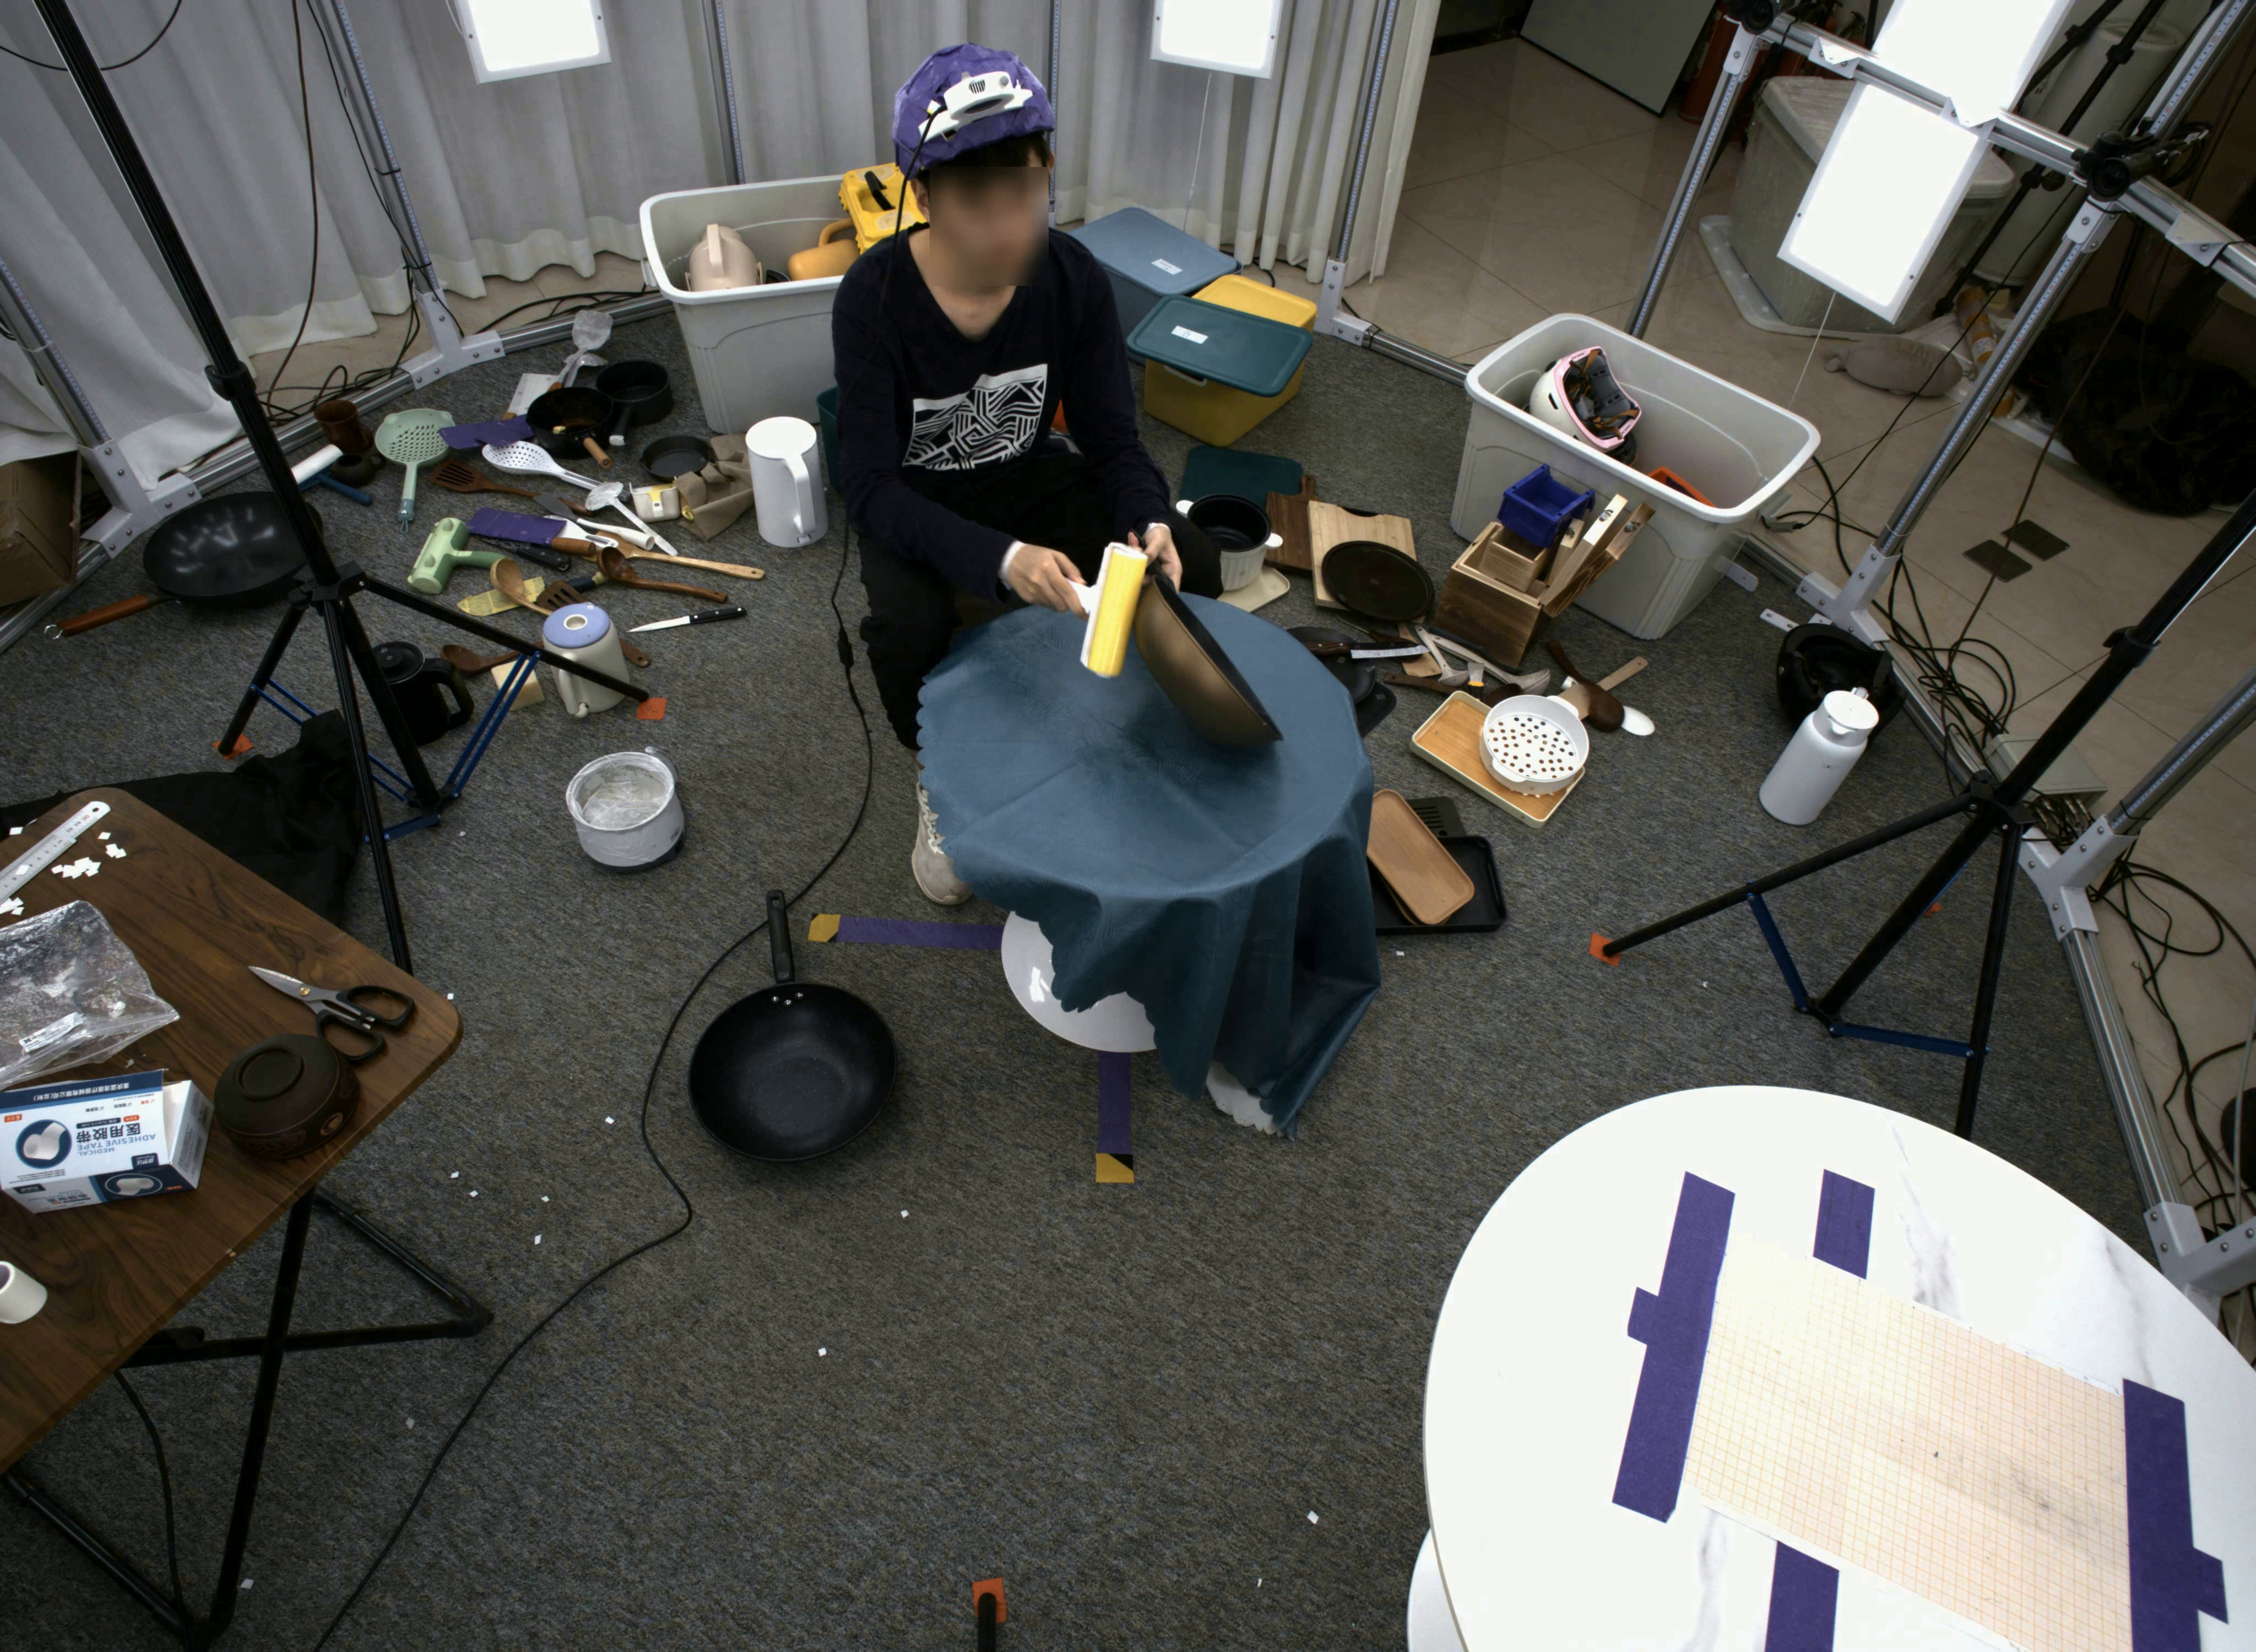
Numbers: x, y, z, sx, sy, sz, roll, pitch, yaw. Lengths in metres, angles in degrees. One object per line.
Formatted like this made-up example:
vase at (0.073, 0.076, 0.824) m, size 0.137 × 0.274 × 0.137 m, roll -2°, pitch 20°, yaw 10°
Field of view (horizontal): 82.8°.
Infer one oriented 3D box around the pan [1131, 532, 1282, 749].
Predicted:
pan at (0.058, -0.265, 1.779) m, size 0.086 × 0.282 × 0.475 m, roll -38°, pitch 46°, yaw 12°

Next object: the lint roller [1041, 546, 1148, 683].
lint roller at (-0.063, -0.300, 1.720) m, size 0.195 × 0.172 × 0.051 m, roll 28°, pitch 23°, yaw 37°
